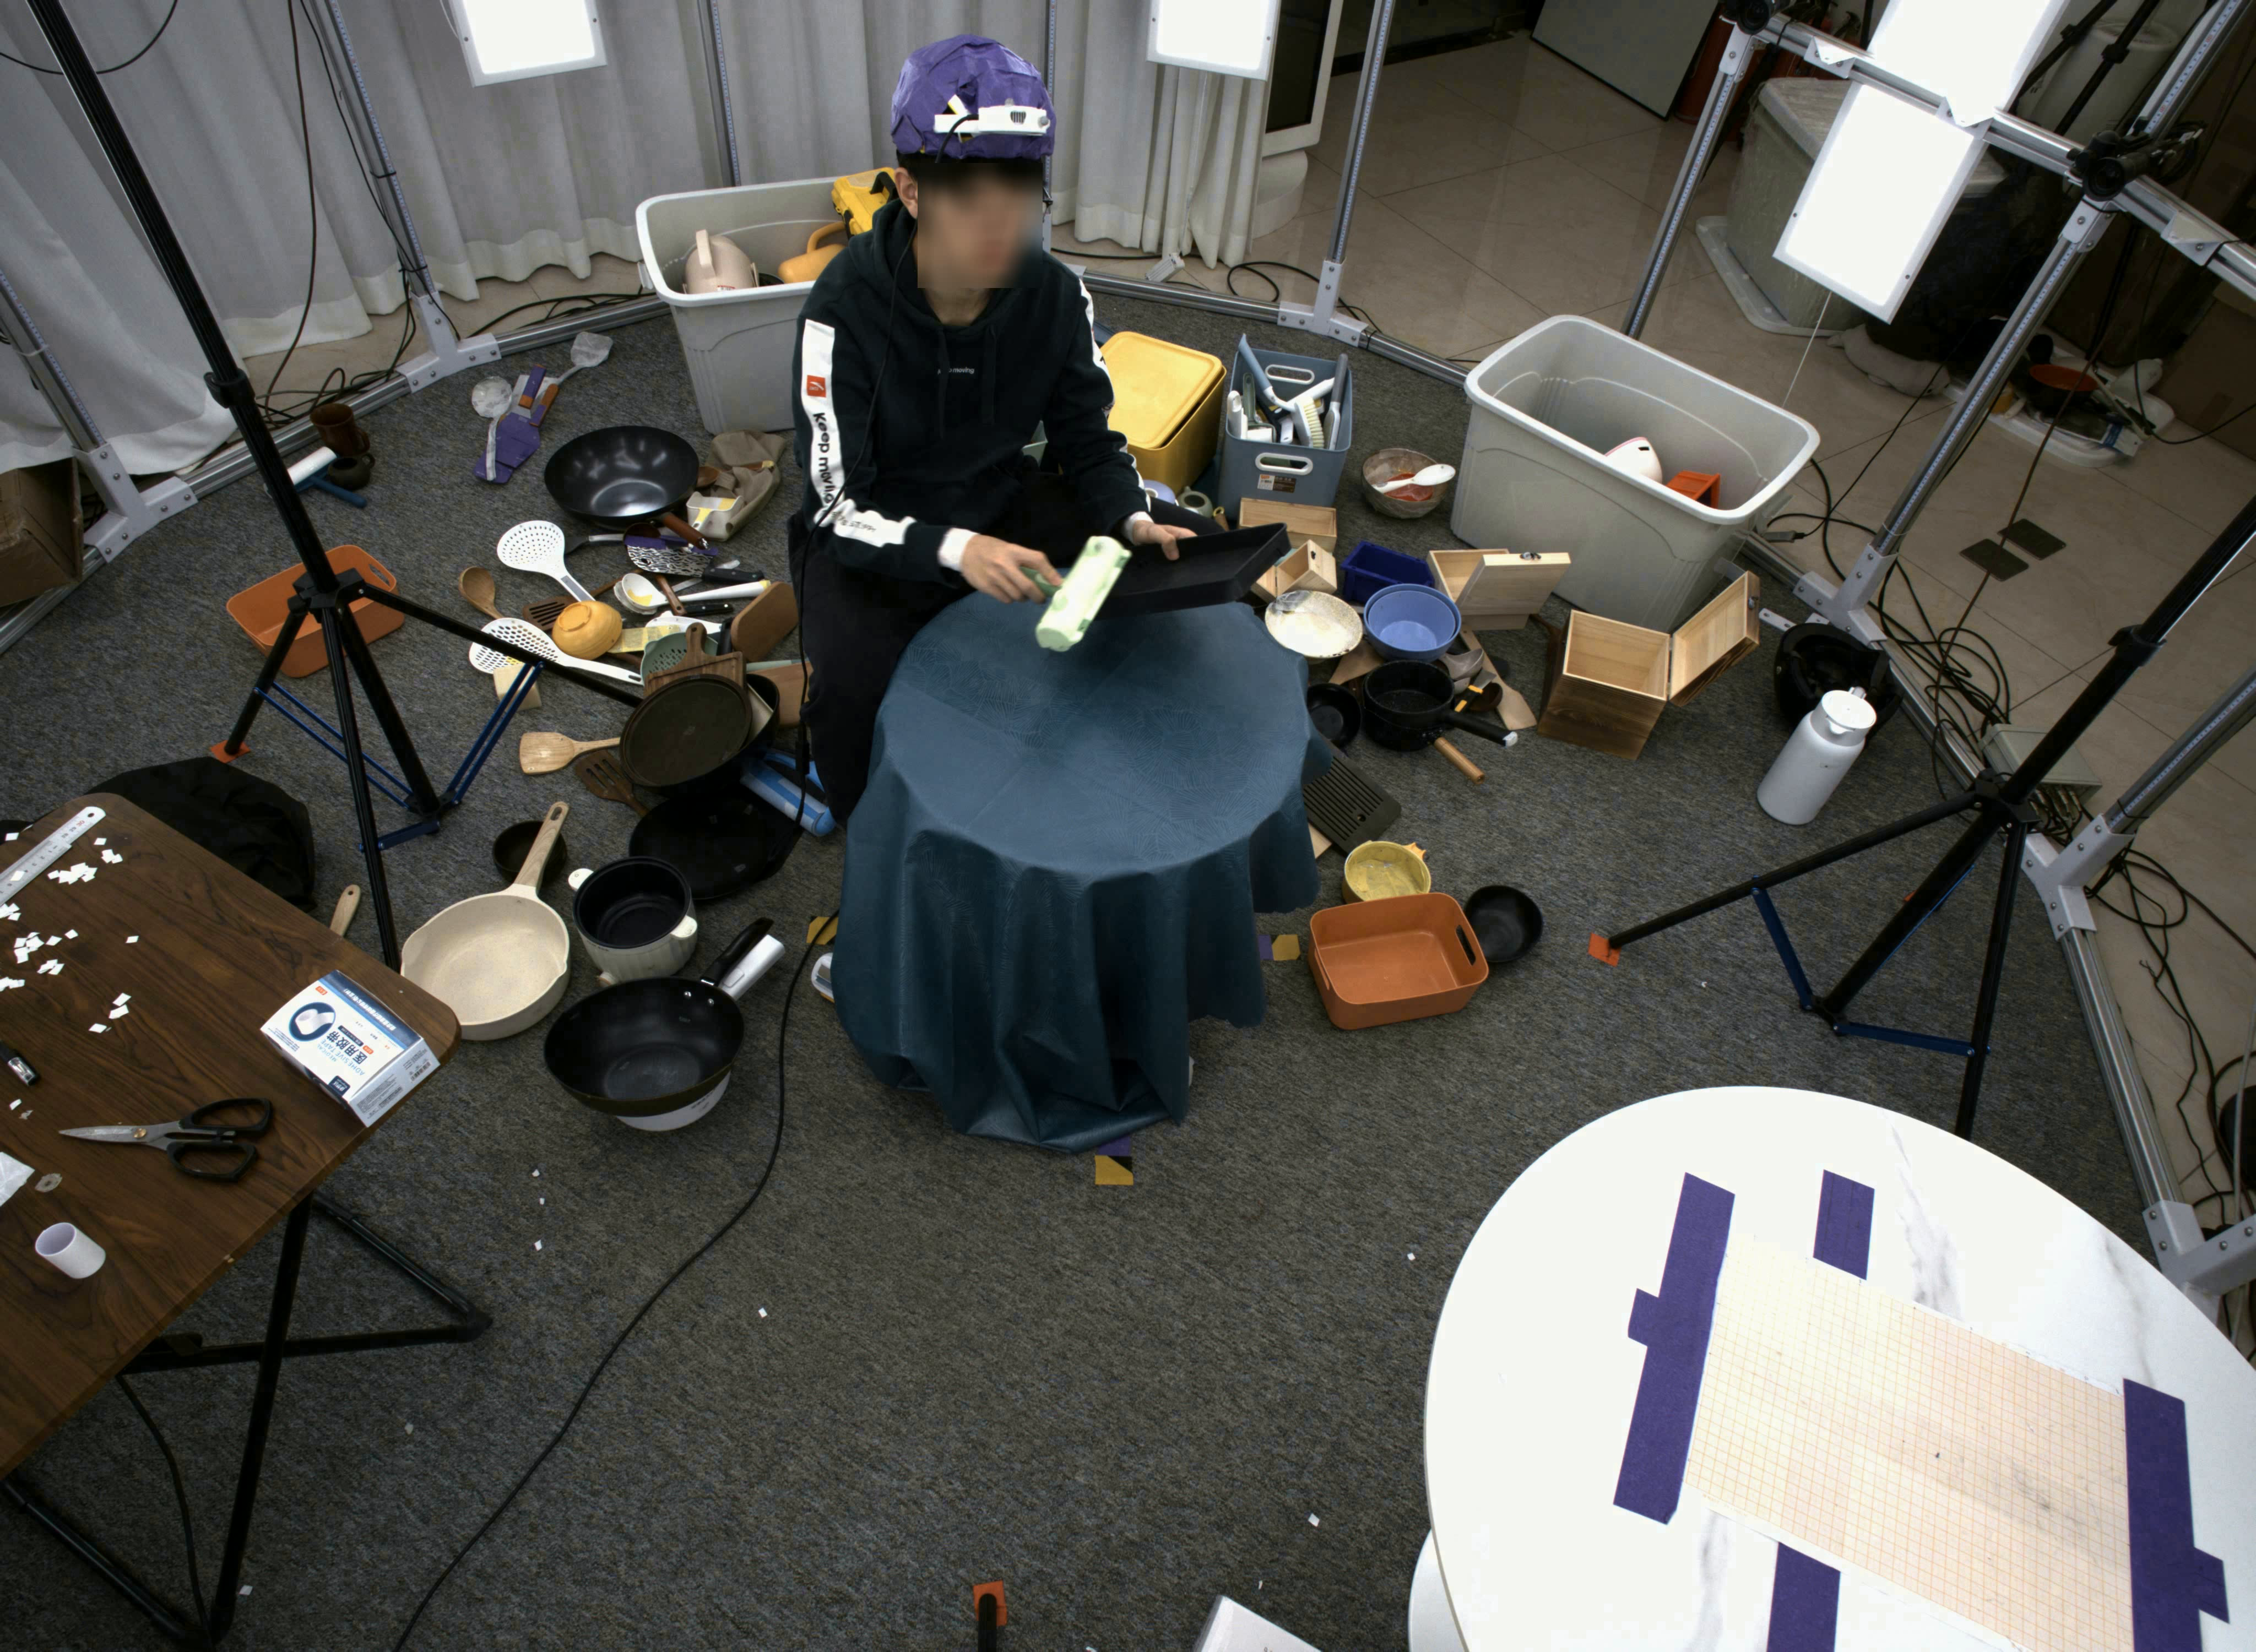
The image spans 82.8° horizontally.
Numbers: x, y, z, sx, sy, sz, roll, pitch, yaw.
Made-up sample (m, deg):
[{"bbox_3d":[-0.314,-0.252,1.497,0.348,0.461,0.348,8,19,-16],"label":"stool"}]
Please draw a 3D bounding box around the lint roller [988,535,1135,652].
[{"bbox_3d":[-0.108,-0.339,1.746,0.184,0.080,0.202,20,54,12],"label":"lint roller"}]

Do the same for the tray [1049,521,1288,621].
[{"bbox_3d":[0.055,-0.352,1.798,0.319,0.036,0.187,0,35,39],"label":"tray"}]
